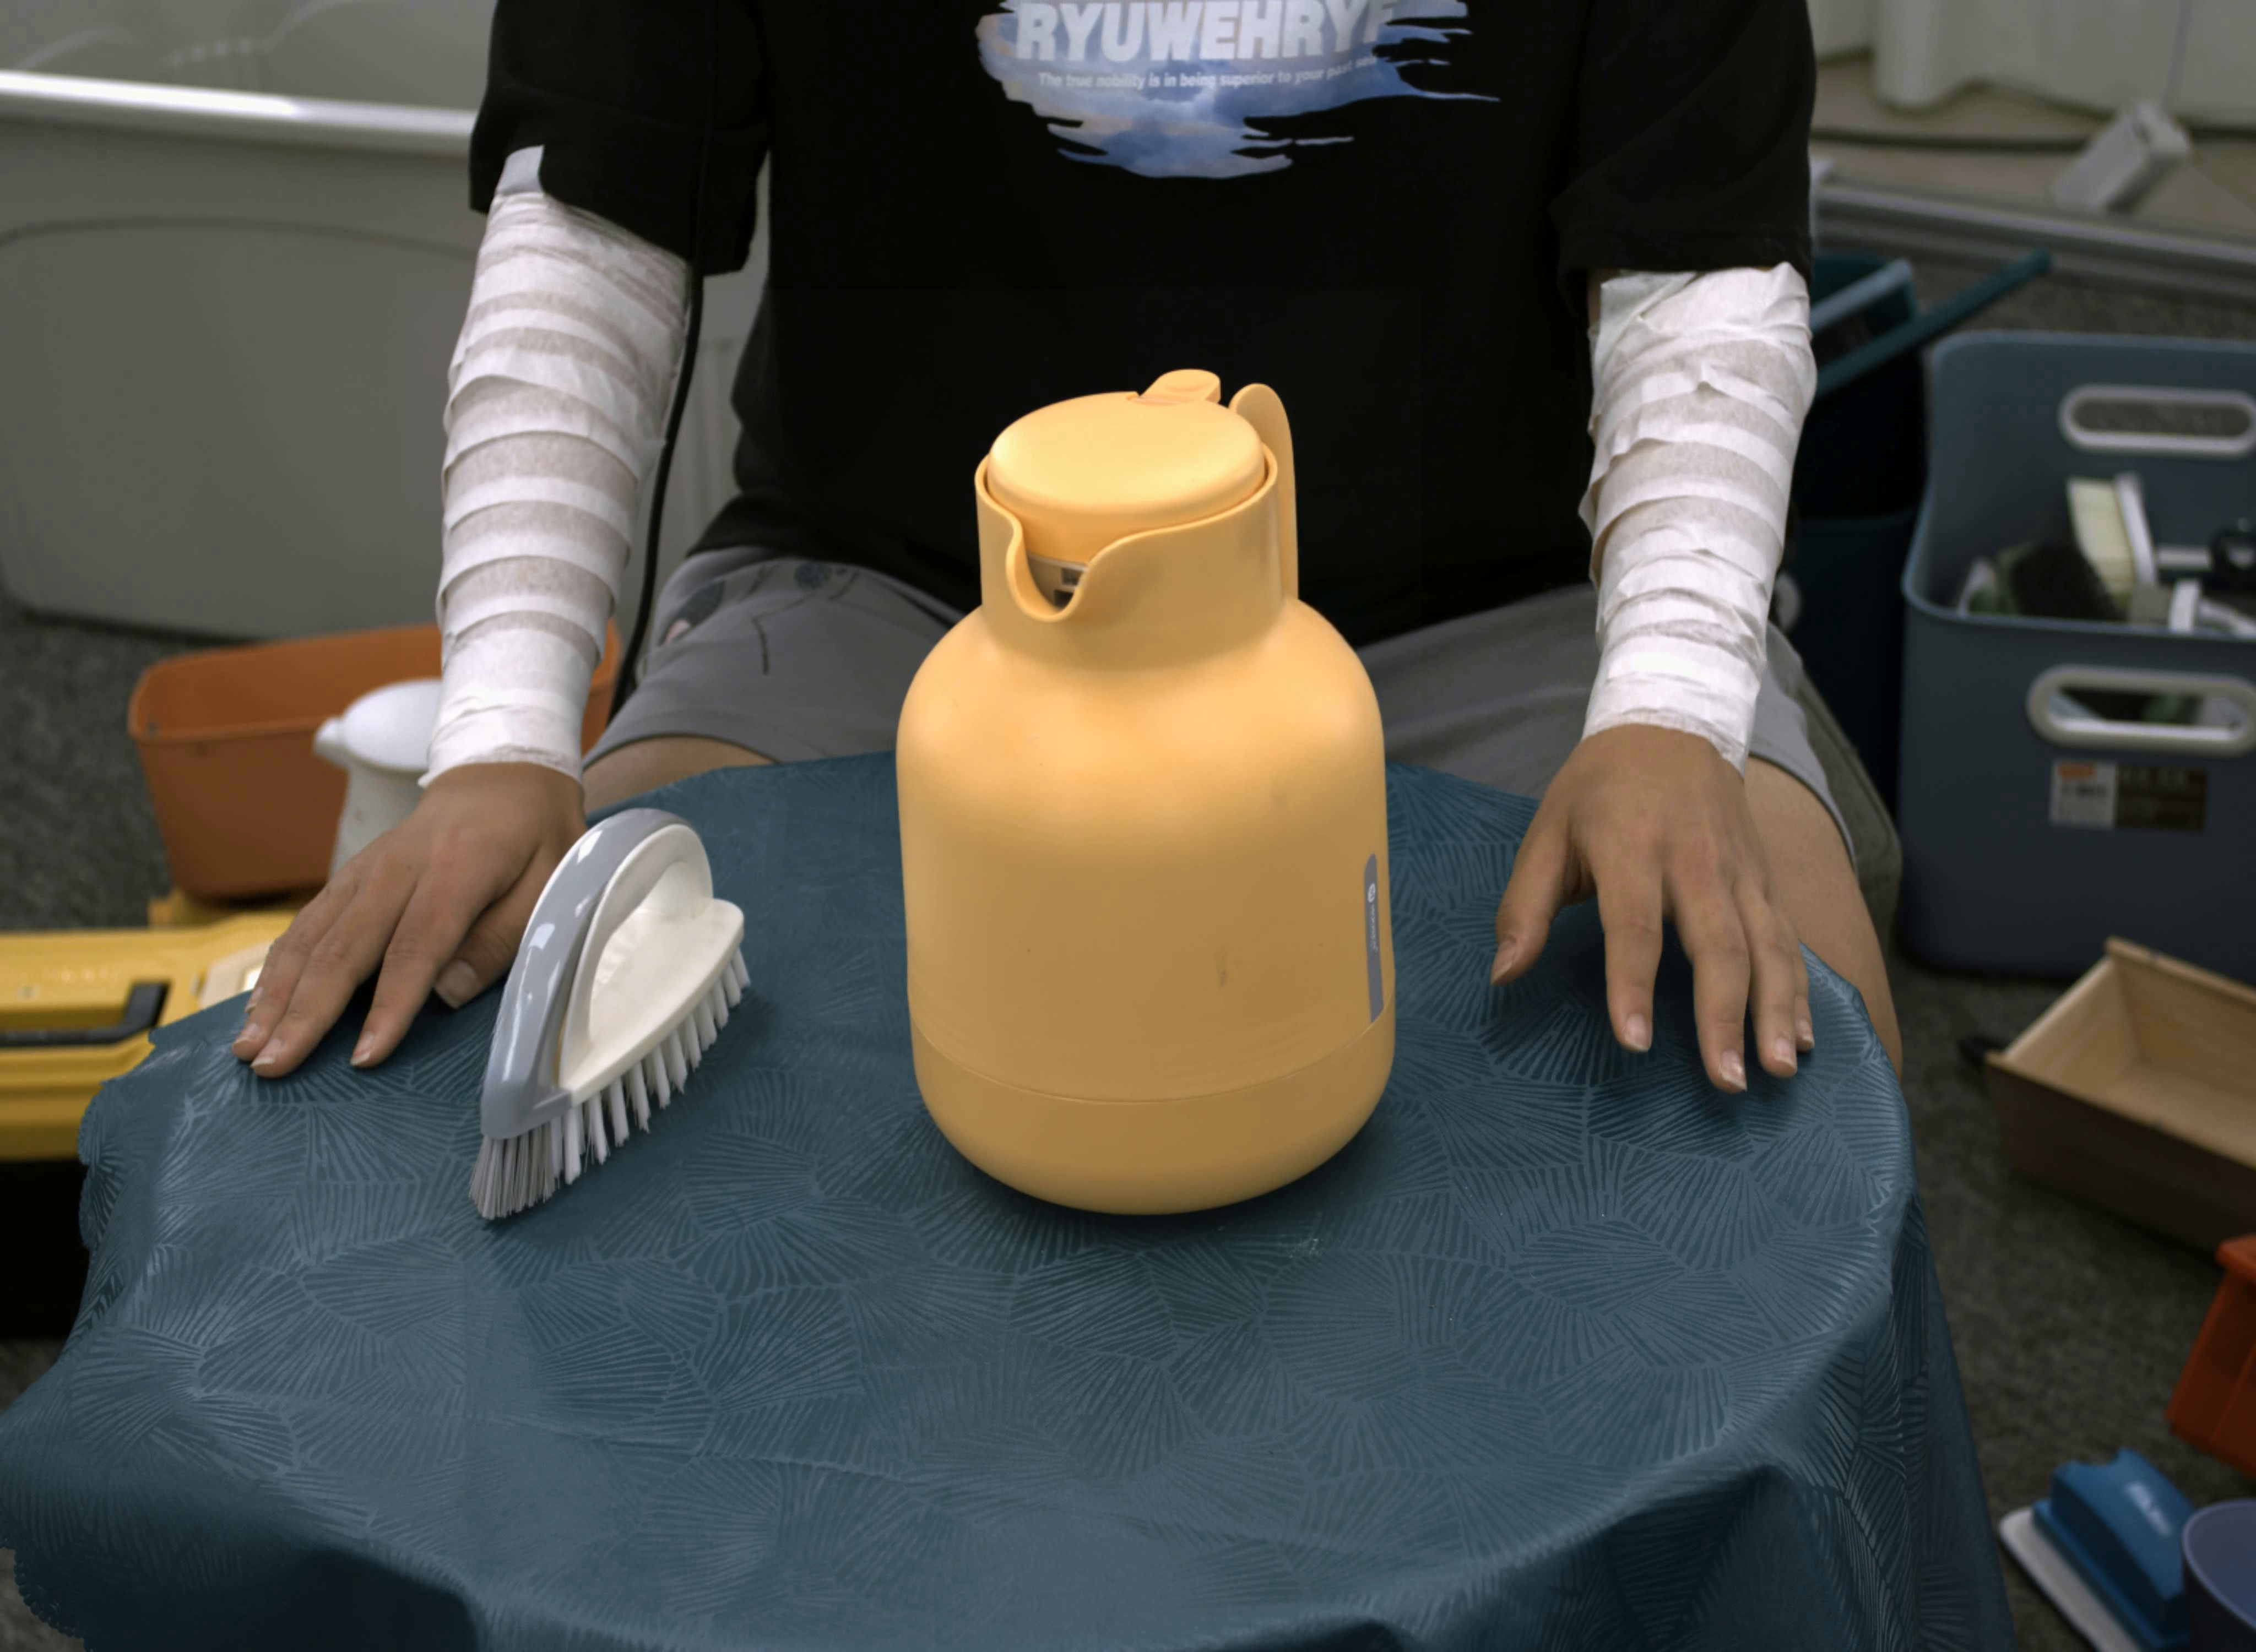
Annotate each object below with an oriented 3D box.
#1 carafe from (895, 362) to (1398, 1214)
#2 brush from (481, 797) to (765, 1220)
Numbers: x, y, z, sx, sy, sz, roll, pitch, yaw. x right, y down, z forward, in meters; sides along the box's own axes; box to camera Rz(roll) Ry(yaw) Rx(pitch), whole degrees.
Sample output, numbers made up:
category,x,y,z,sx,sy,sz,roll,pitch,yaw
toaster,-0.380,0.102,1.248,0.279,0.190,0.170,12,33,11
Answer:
category,x,y,z,sx,sy,sz,roll,pitch,yaw
carafe,0.013,-0.021,1.859,0.162,0.257,0.206,10,30,21
brush,-0.181,0.054,1.911,0.061,0.093,0.178,4,29,19
